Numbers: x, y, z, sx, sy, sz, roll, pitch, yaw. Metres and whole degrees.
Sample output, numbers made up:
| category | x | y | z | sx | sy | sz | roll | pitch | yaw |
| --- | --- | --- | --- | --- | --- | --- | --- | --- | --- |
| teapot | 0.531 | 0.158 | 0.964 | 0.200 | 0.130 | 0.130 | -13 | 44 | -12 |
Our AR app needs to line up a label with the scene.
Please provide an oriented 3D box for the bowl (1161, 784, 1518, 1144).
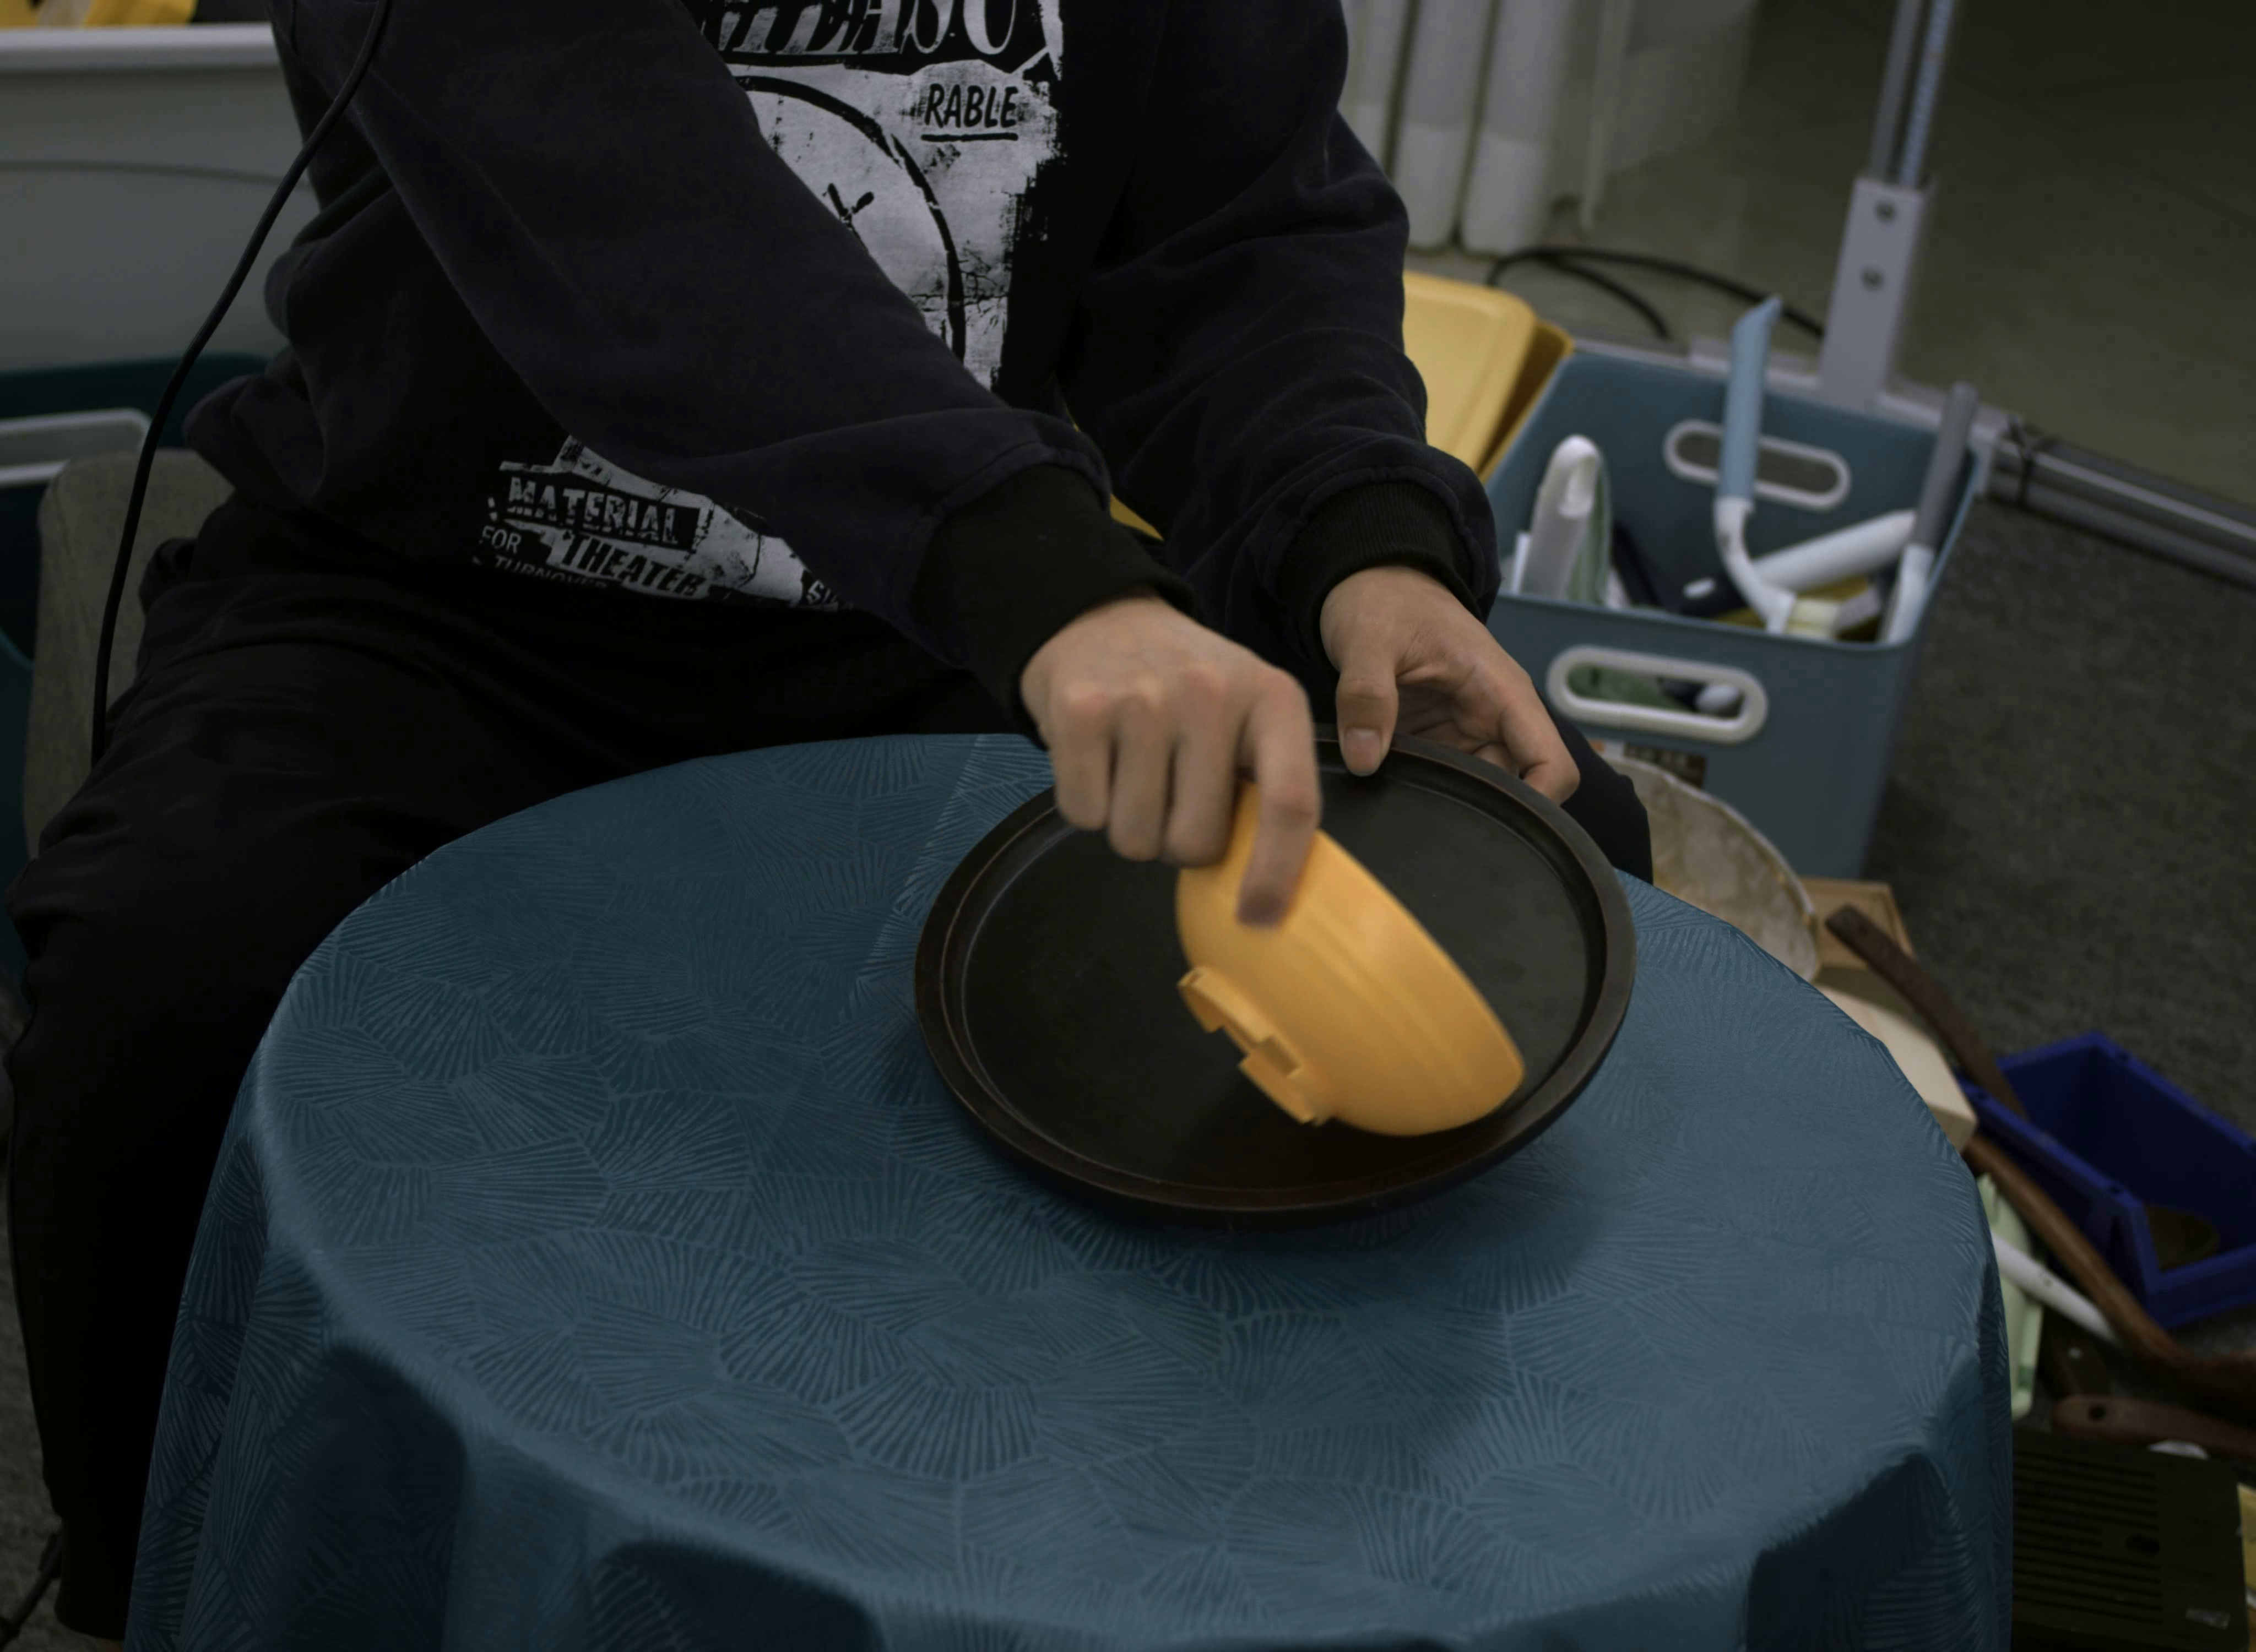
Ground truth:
| category | x | y | z | sx | sy | sz | roll | pitch | yaw |
| --- | --- | --- | --- | --- | --- | --- | --- | --- | --- |
| bowl | 0.057 | 0.058 | 1.747 | 0.060 | 0.144 | 0.146 | -44 | 46 | -12 |

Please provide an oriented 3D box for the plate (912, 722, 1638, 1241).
| category | x | y | z | sx | sy | sz | roll | pitch | yaw |
| --- | --- | --- | --- | --- | --- | --- | --- | --- | --- |
| plate | 0.051 | 0.052 | 1.856 | 0.254 | 0.029 | 0.257 | -5 | 40 | 4 |
